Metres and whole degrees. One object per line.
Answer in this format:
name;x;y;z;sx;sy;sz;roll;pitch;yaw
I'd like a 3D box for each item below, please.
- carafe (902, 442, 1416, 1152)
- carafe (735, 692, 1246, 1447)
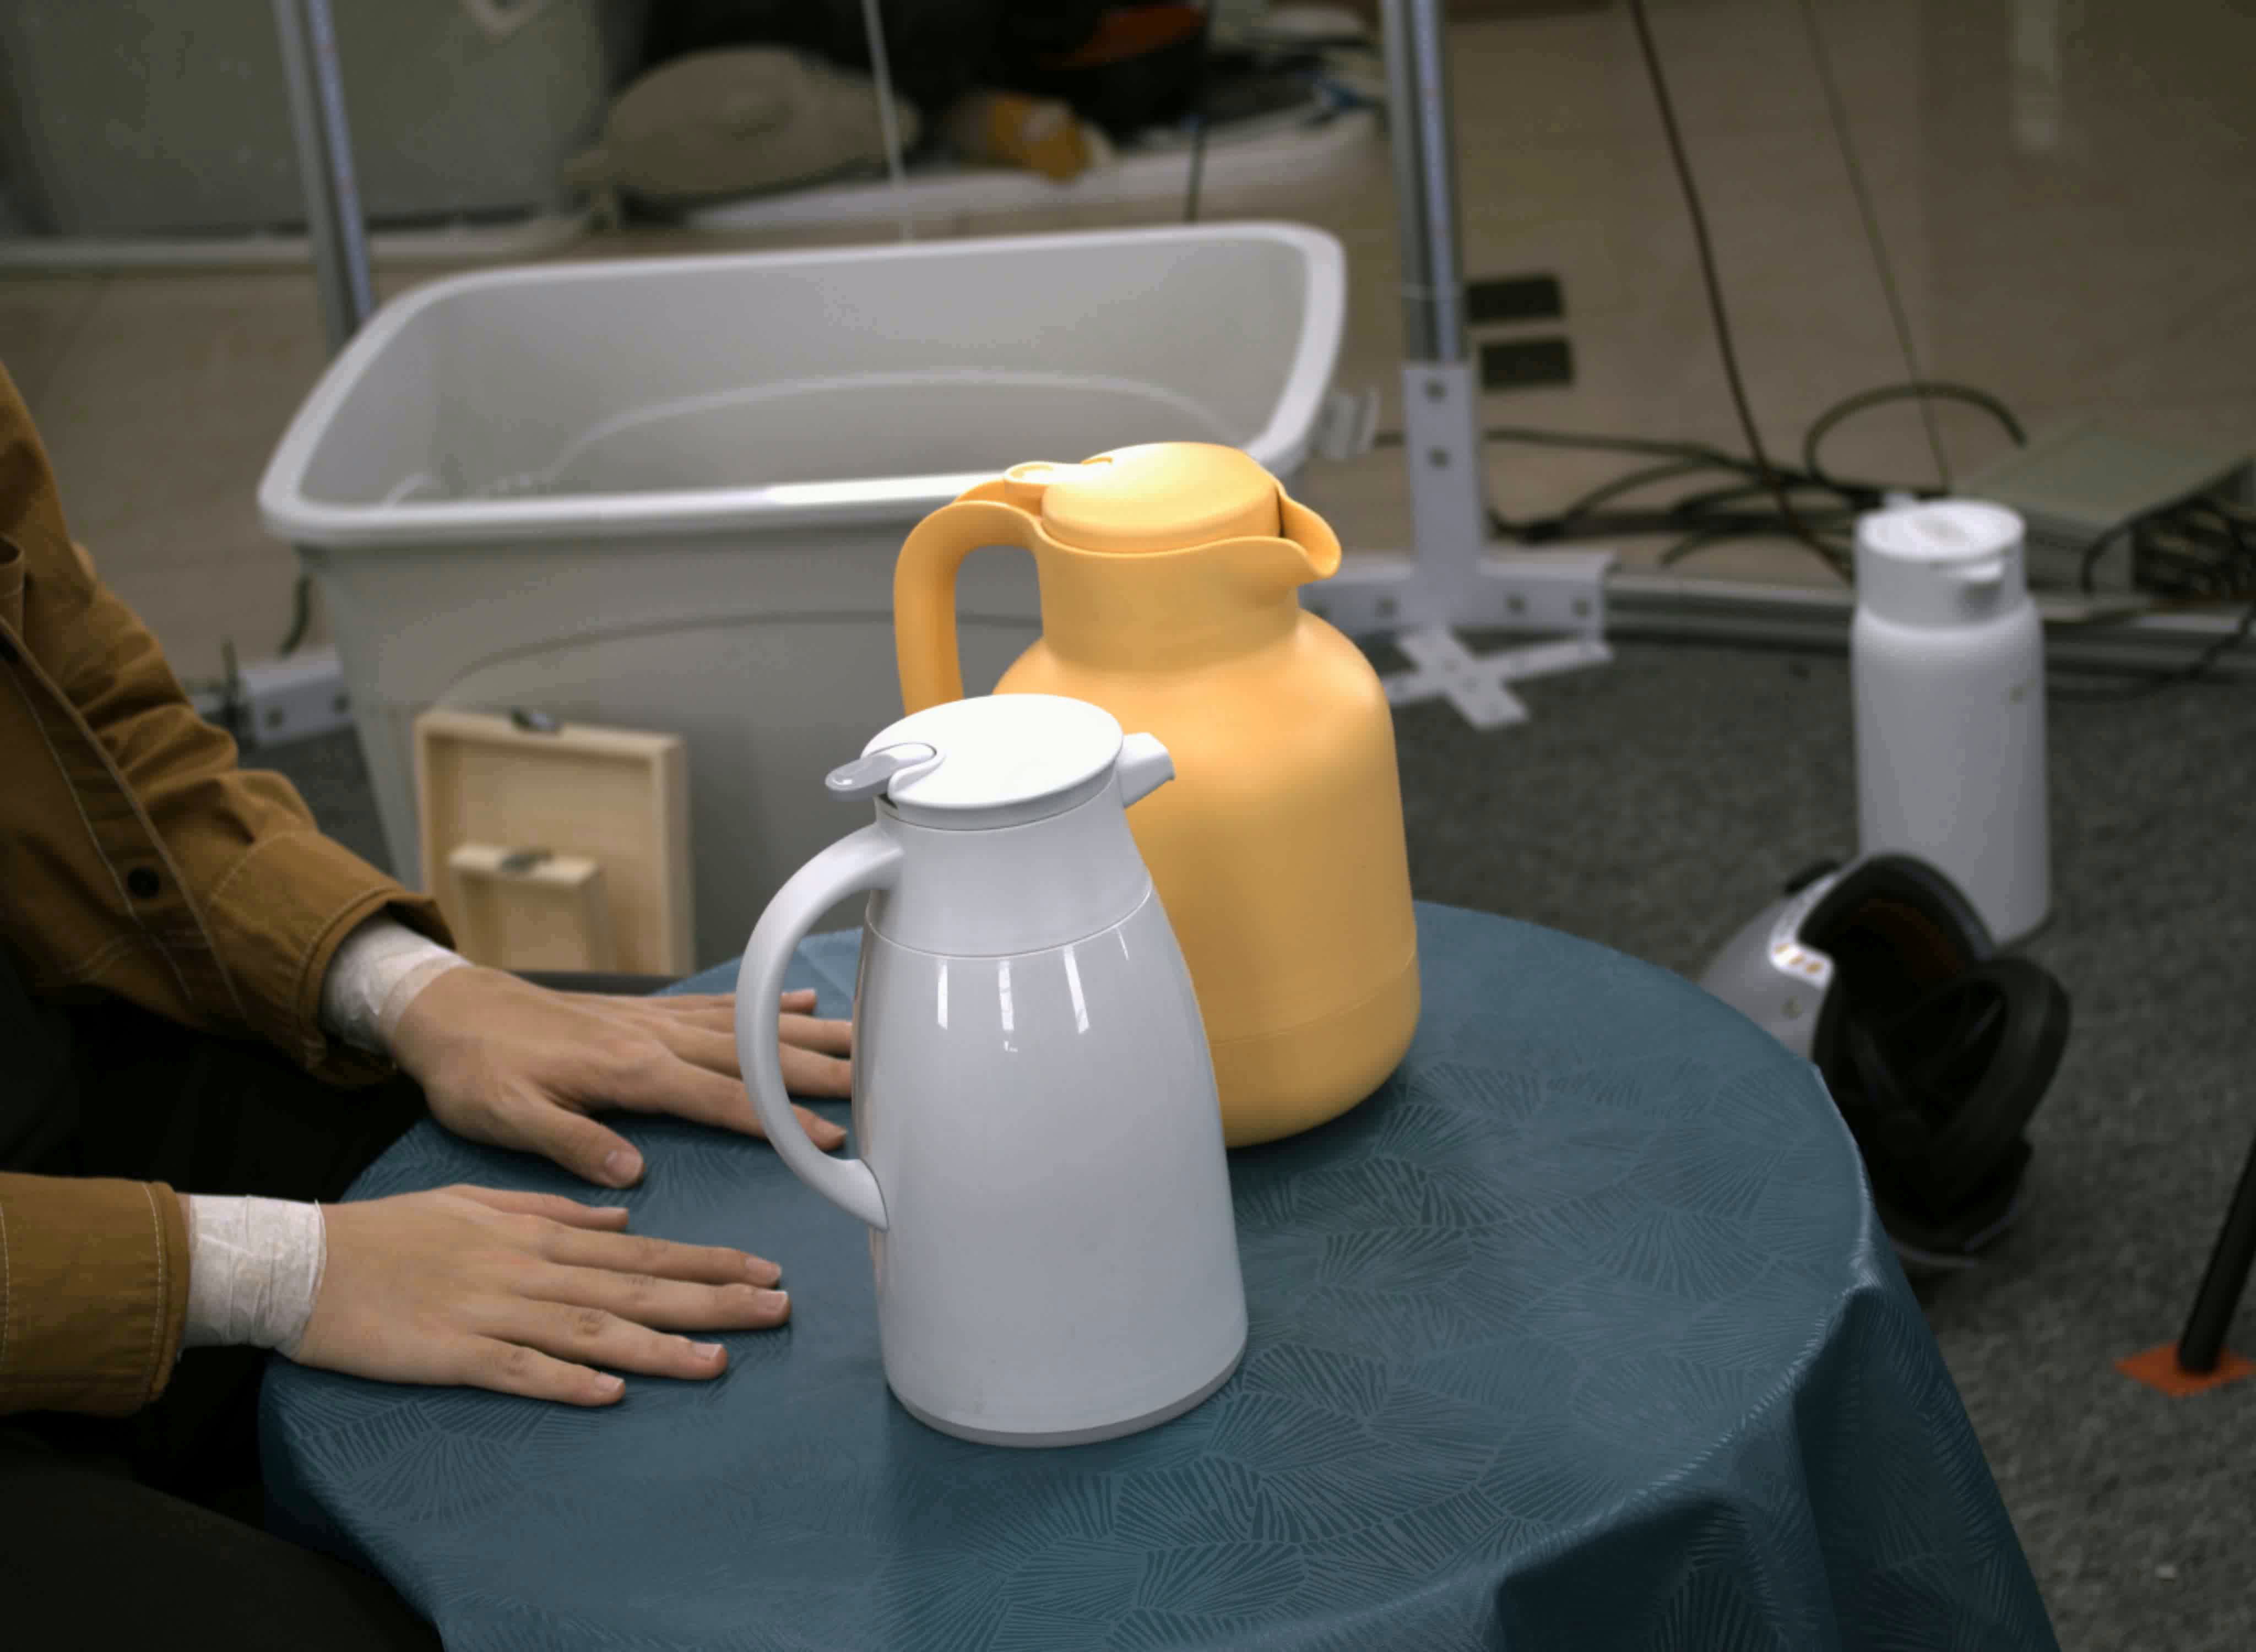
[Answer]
carafe;0.008;-0.019;2.176;0.201;0.264;0.162;12;30;32
carafe;-0.052;0.084;1.983;0.167;0.252;0.131;-16;27;-18
